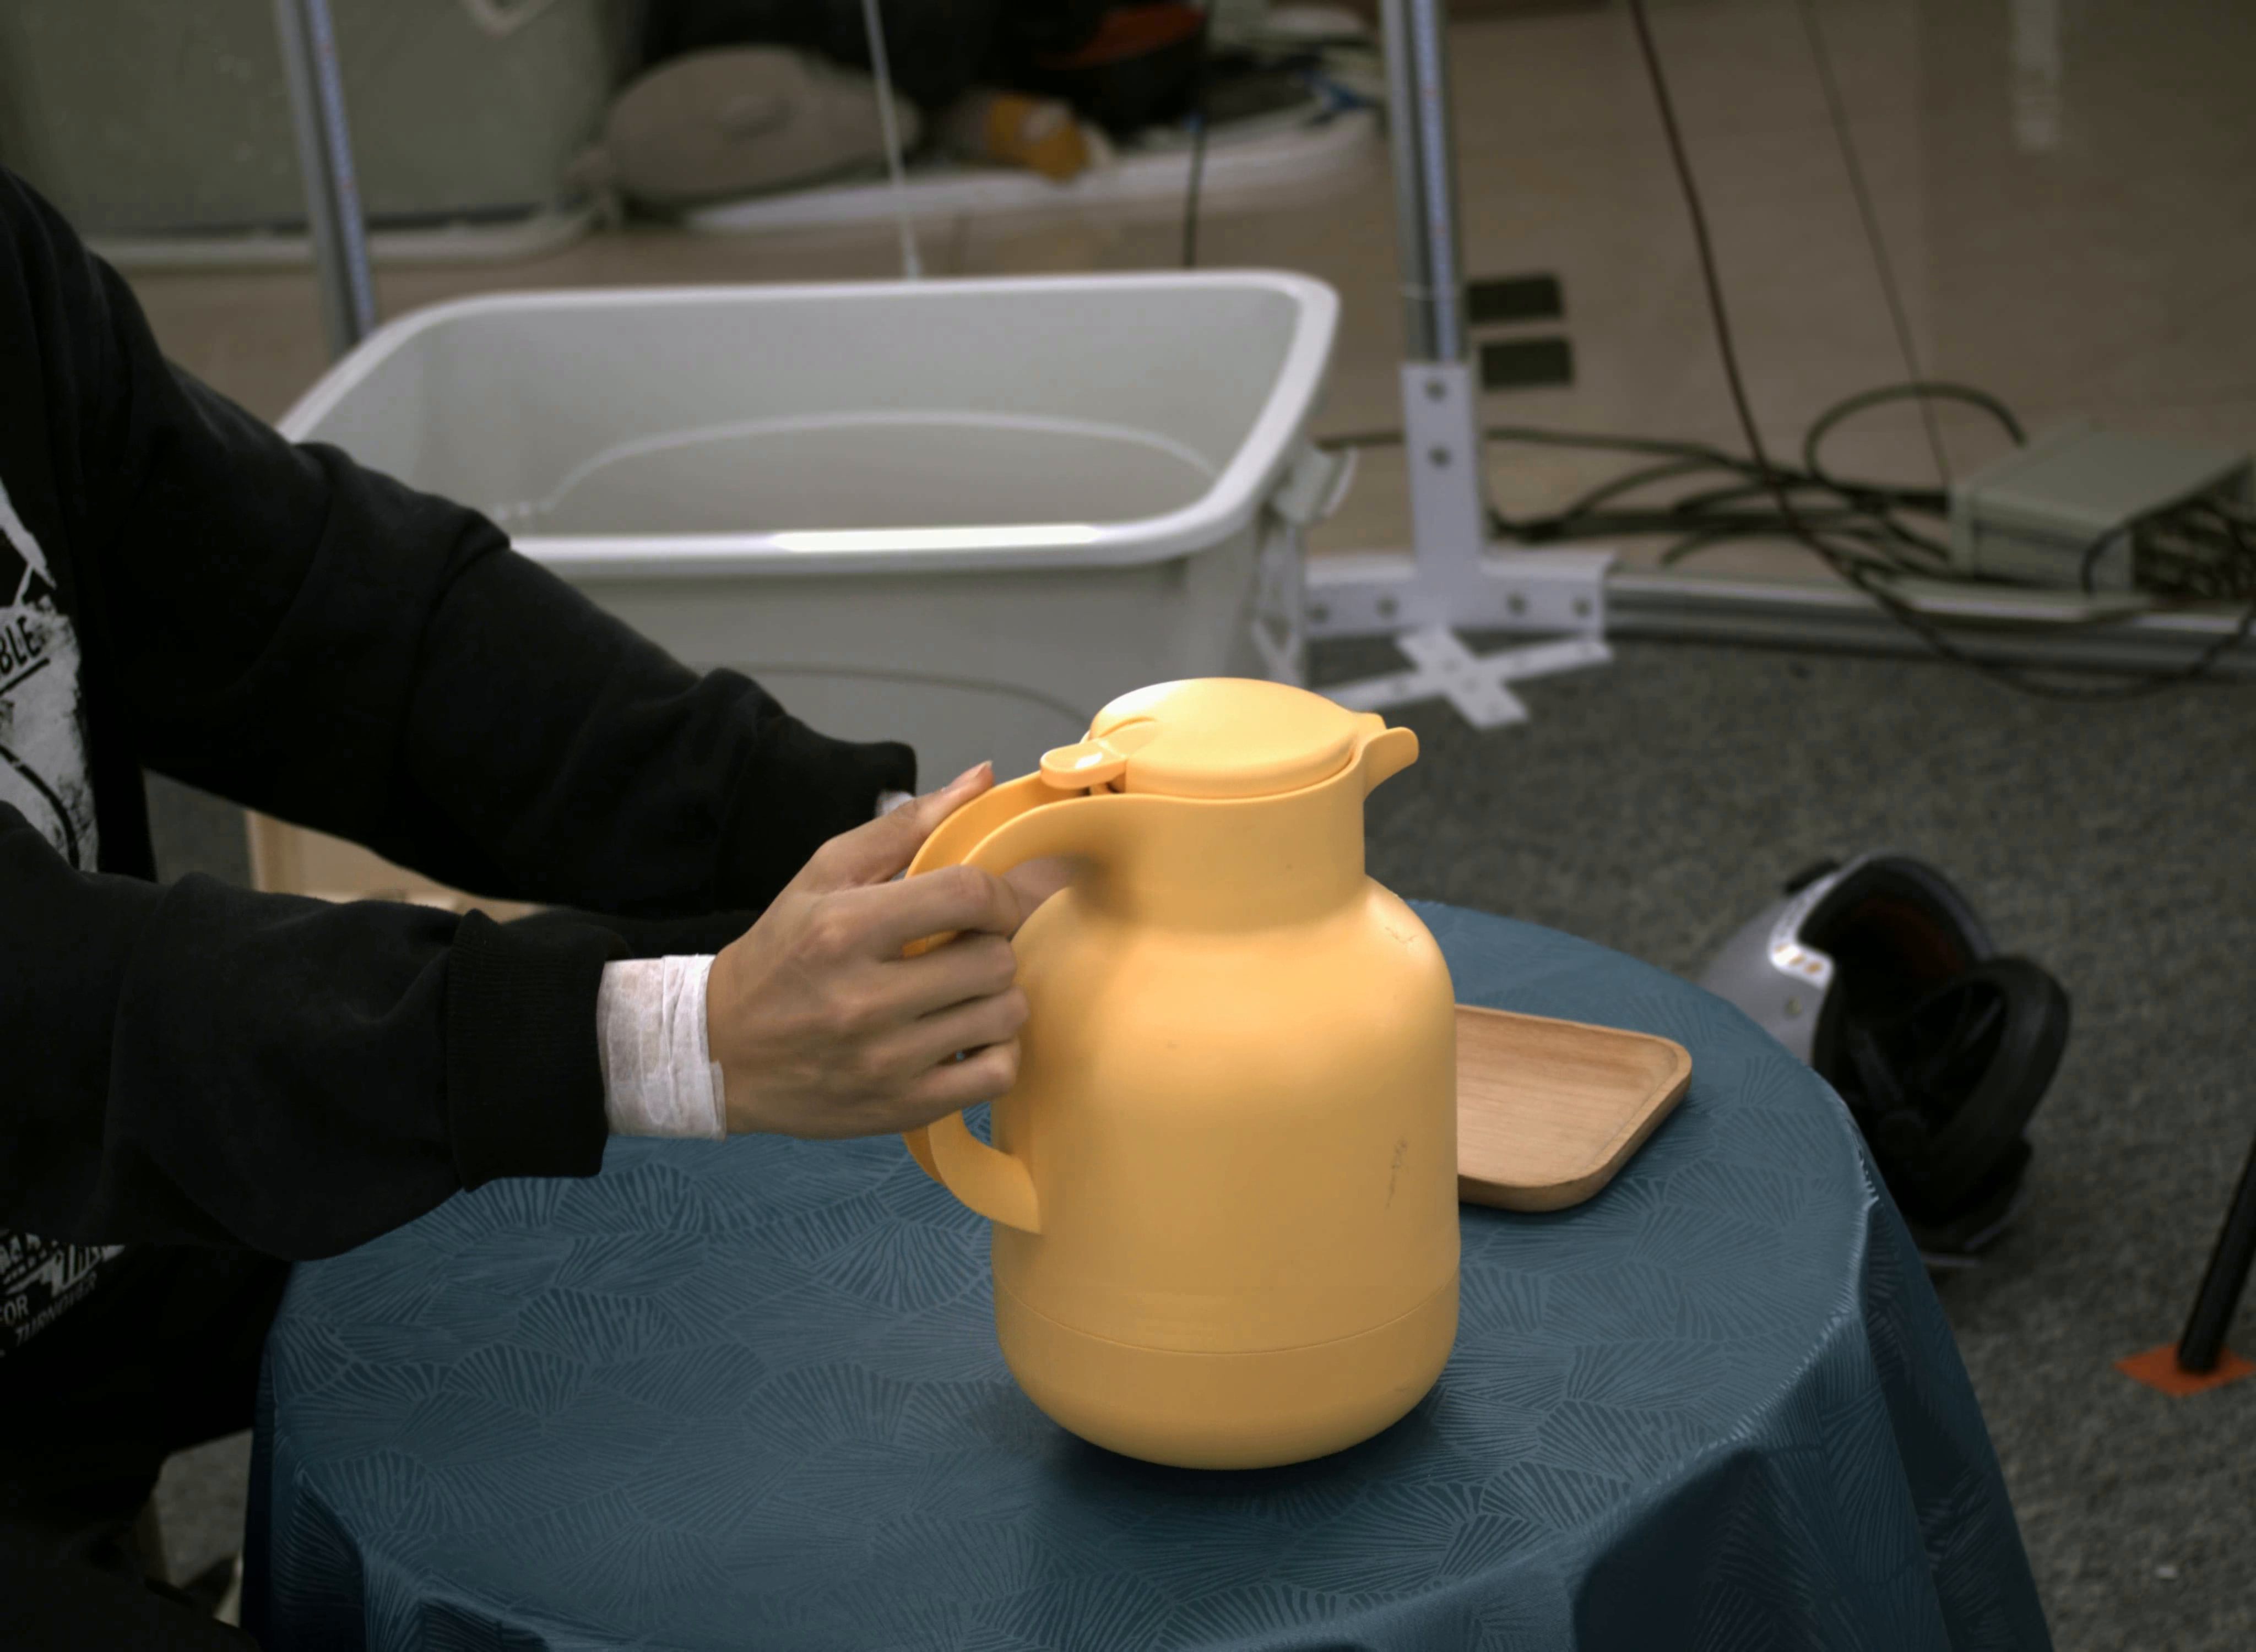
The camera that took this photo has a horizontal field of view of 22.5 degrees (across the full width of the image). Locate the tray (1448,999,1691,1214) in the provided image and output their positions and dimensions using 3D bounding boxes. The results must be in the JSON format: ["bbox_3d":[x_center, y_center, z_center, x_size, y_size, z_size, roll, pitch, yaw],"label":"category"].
[{"bbox_3d":[0.086,0.100,2.191,0.249,0.023,0.129,8,27,30],"label":"tray"}]

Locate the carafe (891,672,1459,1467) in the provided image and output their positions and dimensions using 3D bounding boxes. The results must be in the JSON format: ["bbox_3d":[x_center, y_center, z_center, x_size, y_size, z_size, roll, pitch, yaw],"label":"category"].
[{"bbox_3d":[0.015,0.082,1.938,0.202,0.264,0.161,-10,22,-24],"label":"carafe"}]
